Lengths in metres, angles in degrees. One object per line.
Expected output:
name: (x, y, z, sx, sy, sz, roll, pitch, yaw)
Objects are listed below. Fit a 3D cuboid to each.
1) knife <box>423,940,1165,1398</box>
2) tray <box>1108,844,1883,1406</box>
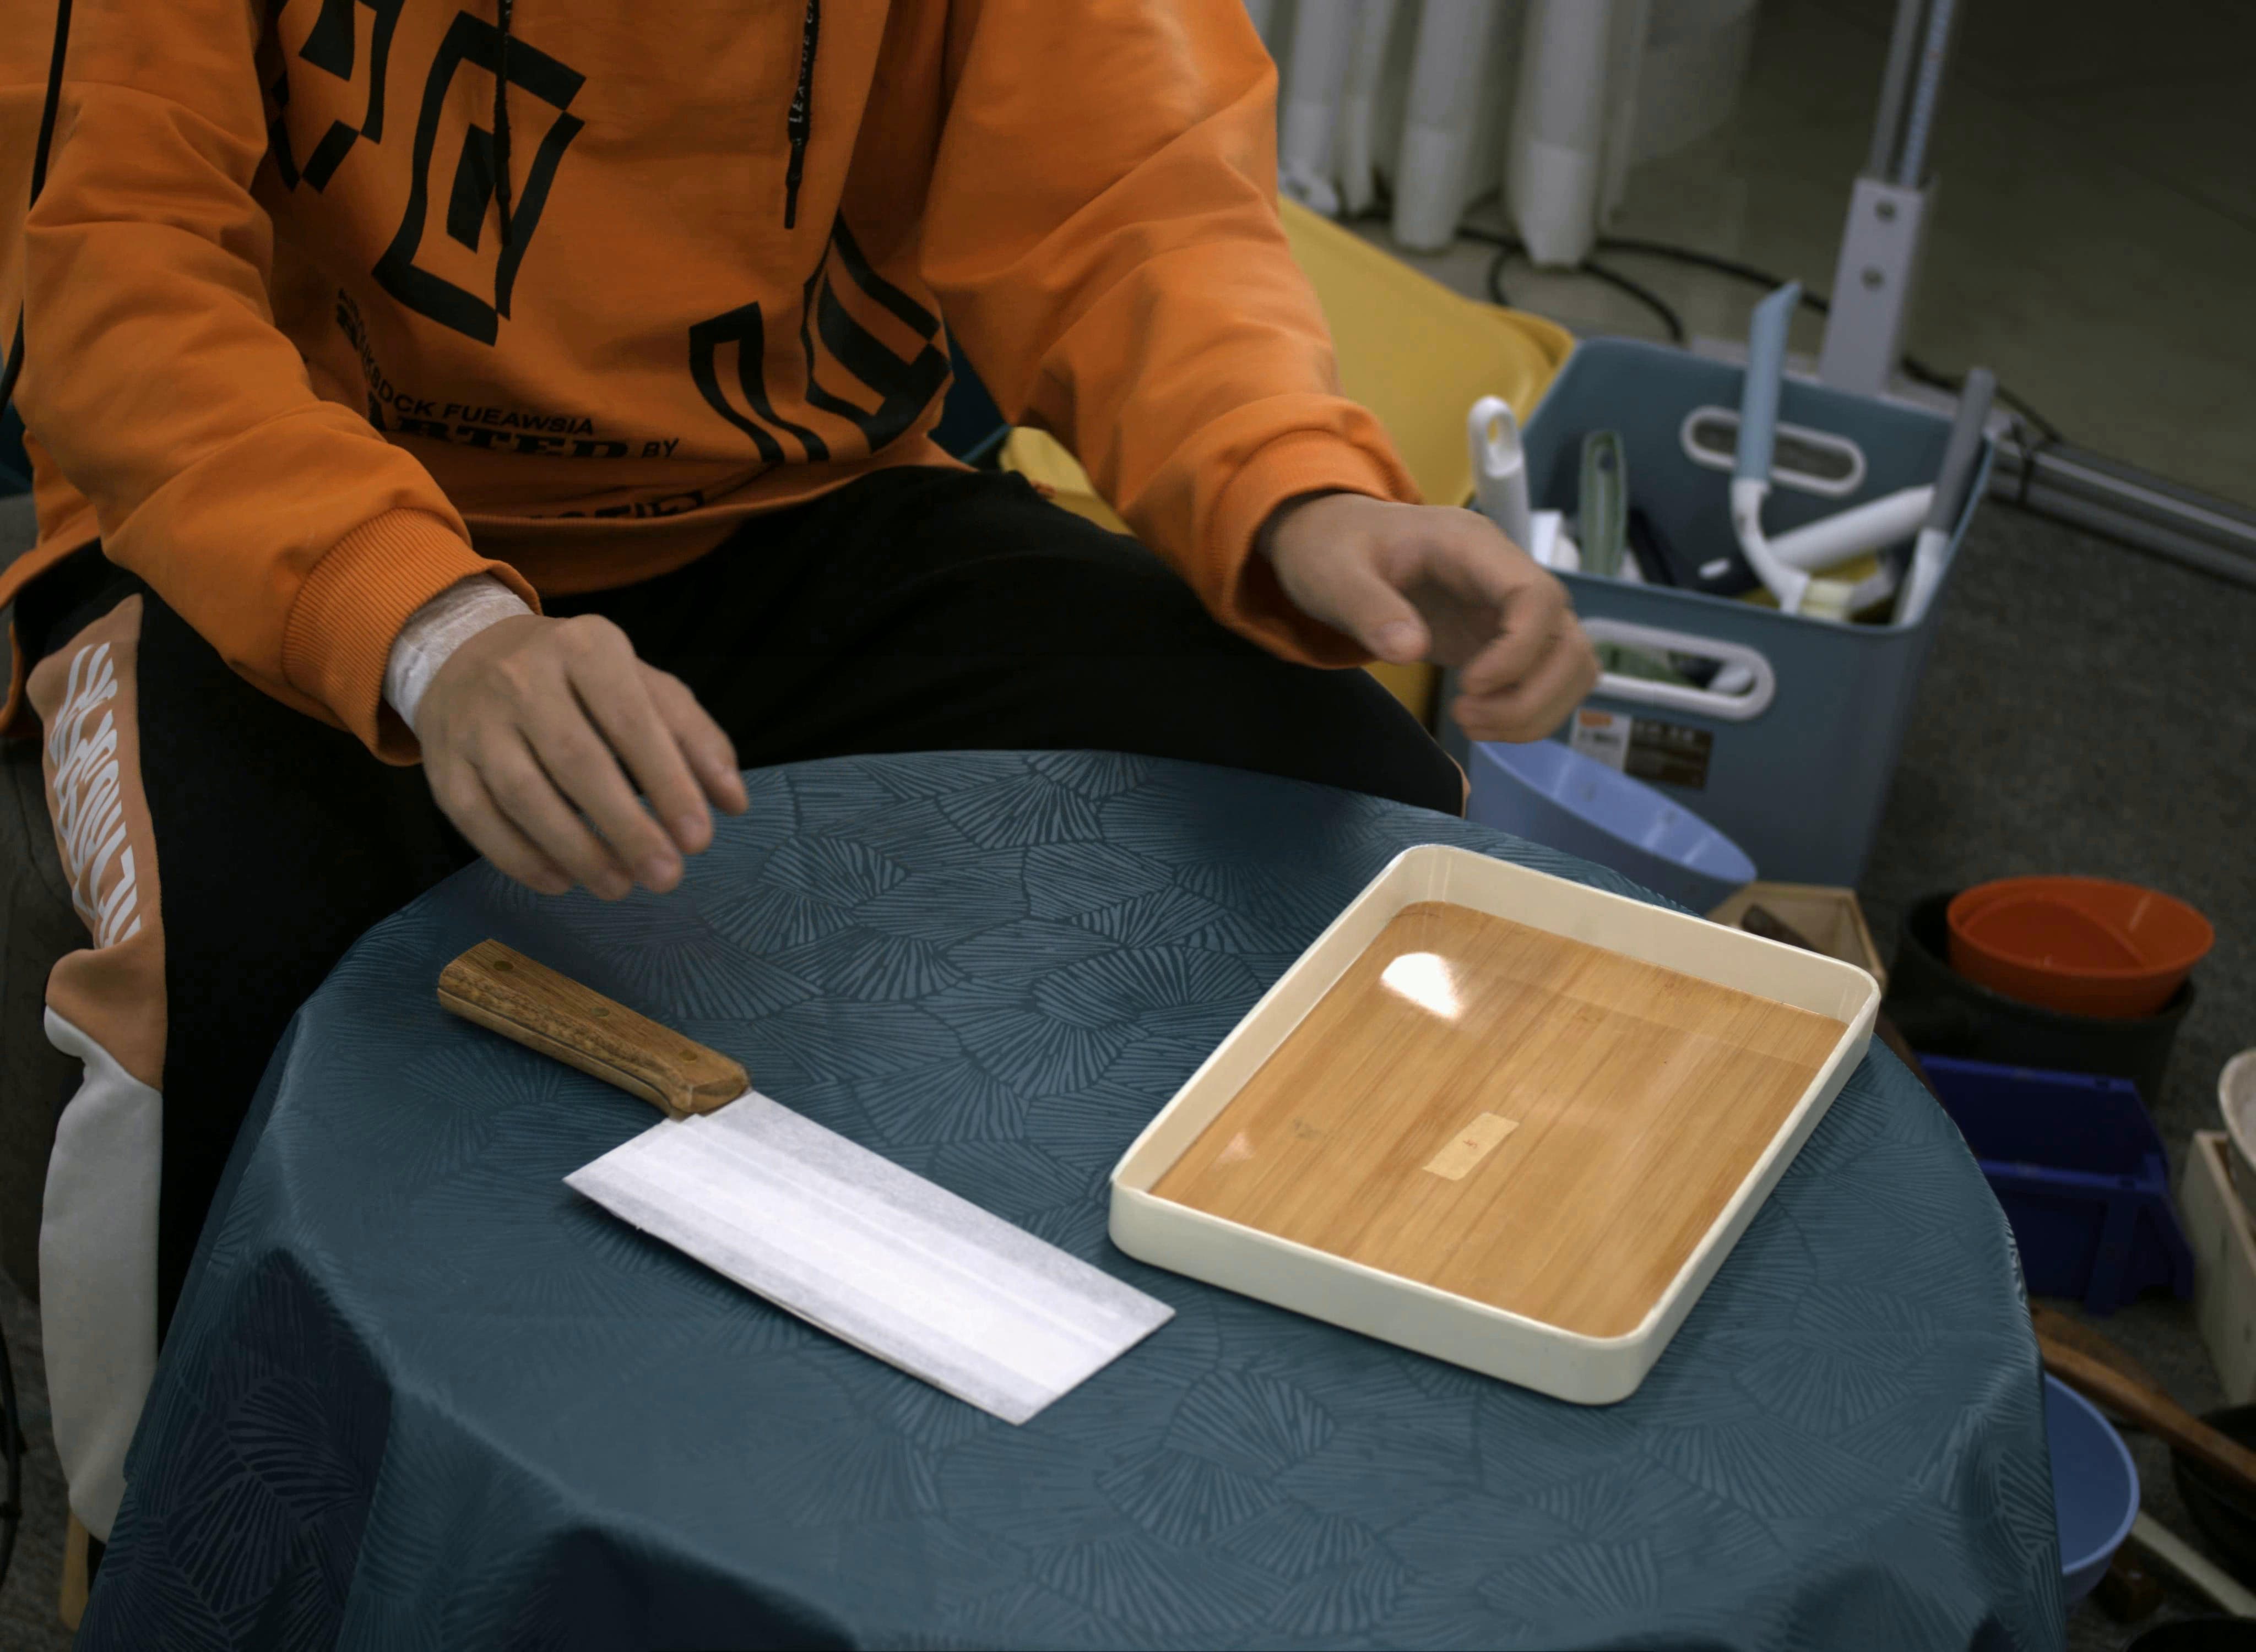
knife: (-0.131, 0.116, 1.772, 0.307, 0.021, 0.092, 25, 34, 28)
tray: (0.133, 0.098, 1.853, 0.192, 0.027, 0.300, 17, 29, 19)
